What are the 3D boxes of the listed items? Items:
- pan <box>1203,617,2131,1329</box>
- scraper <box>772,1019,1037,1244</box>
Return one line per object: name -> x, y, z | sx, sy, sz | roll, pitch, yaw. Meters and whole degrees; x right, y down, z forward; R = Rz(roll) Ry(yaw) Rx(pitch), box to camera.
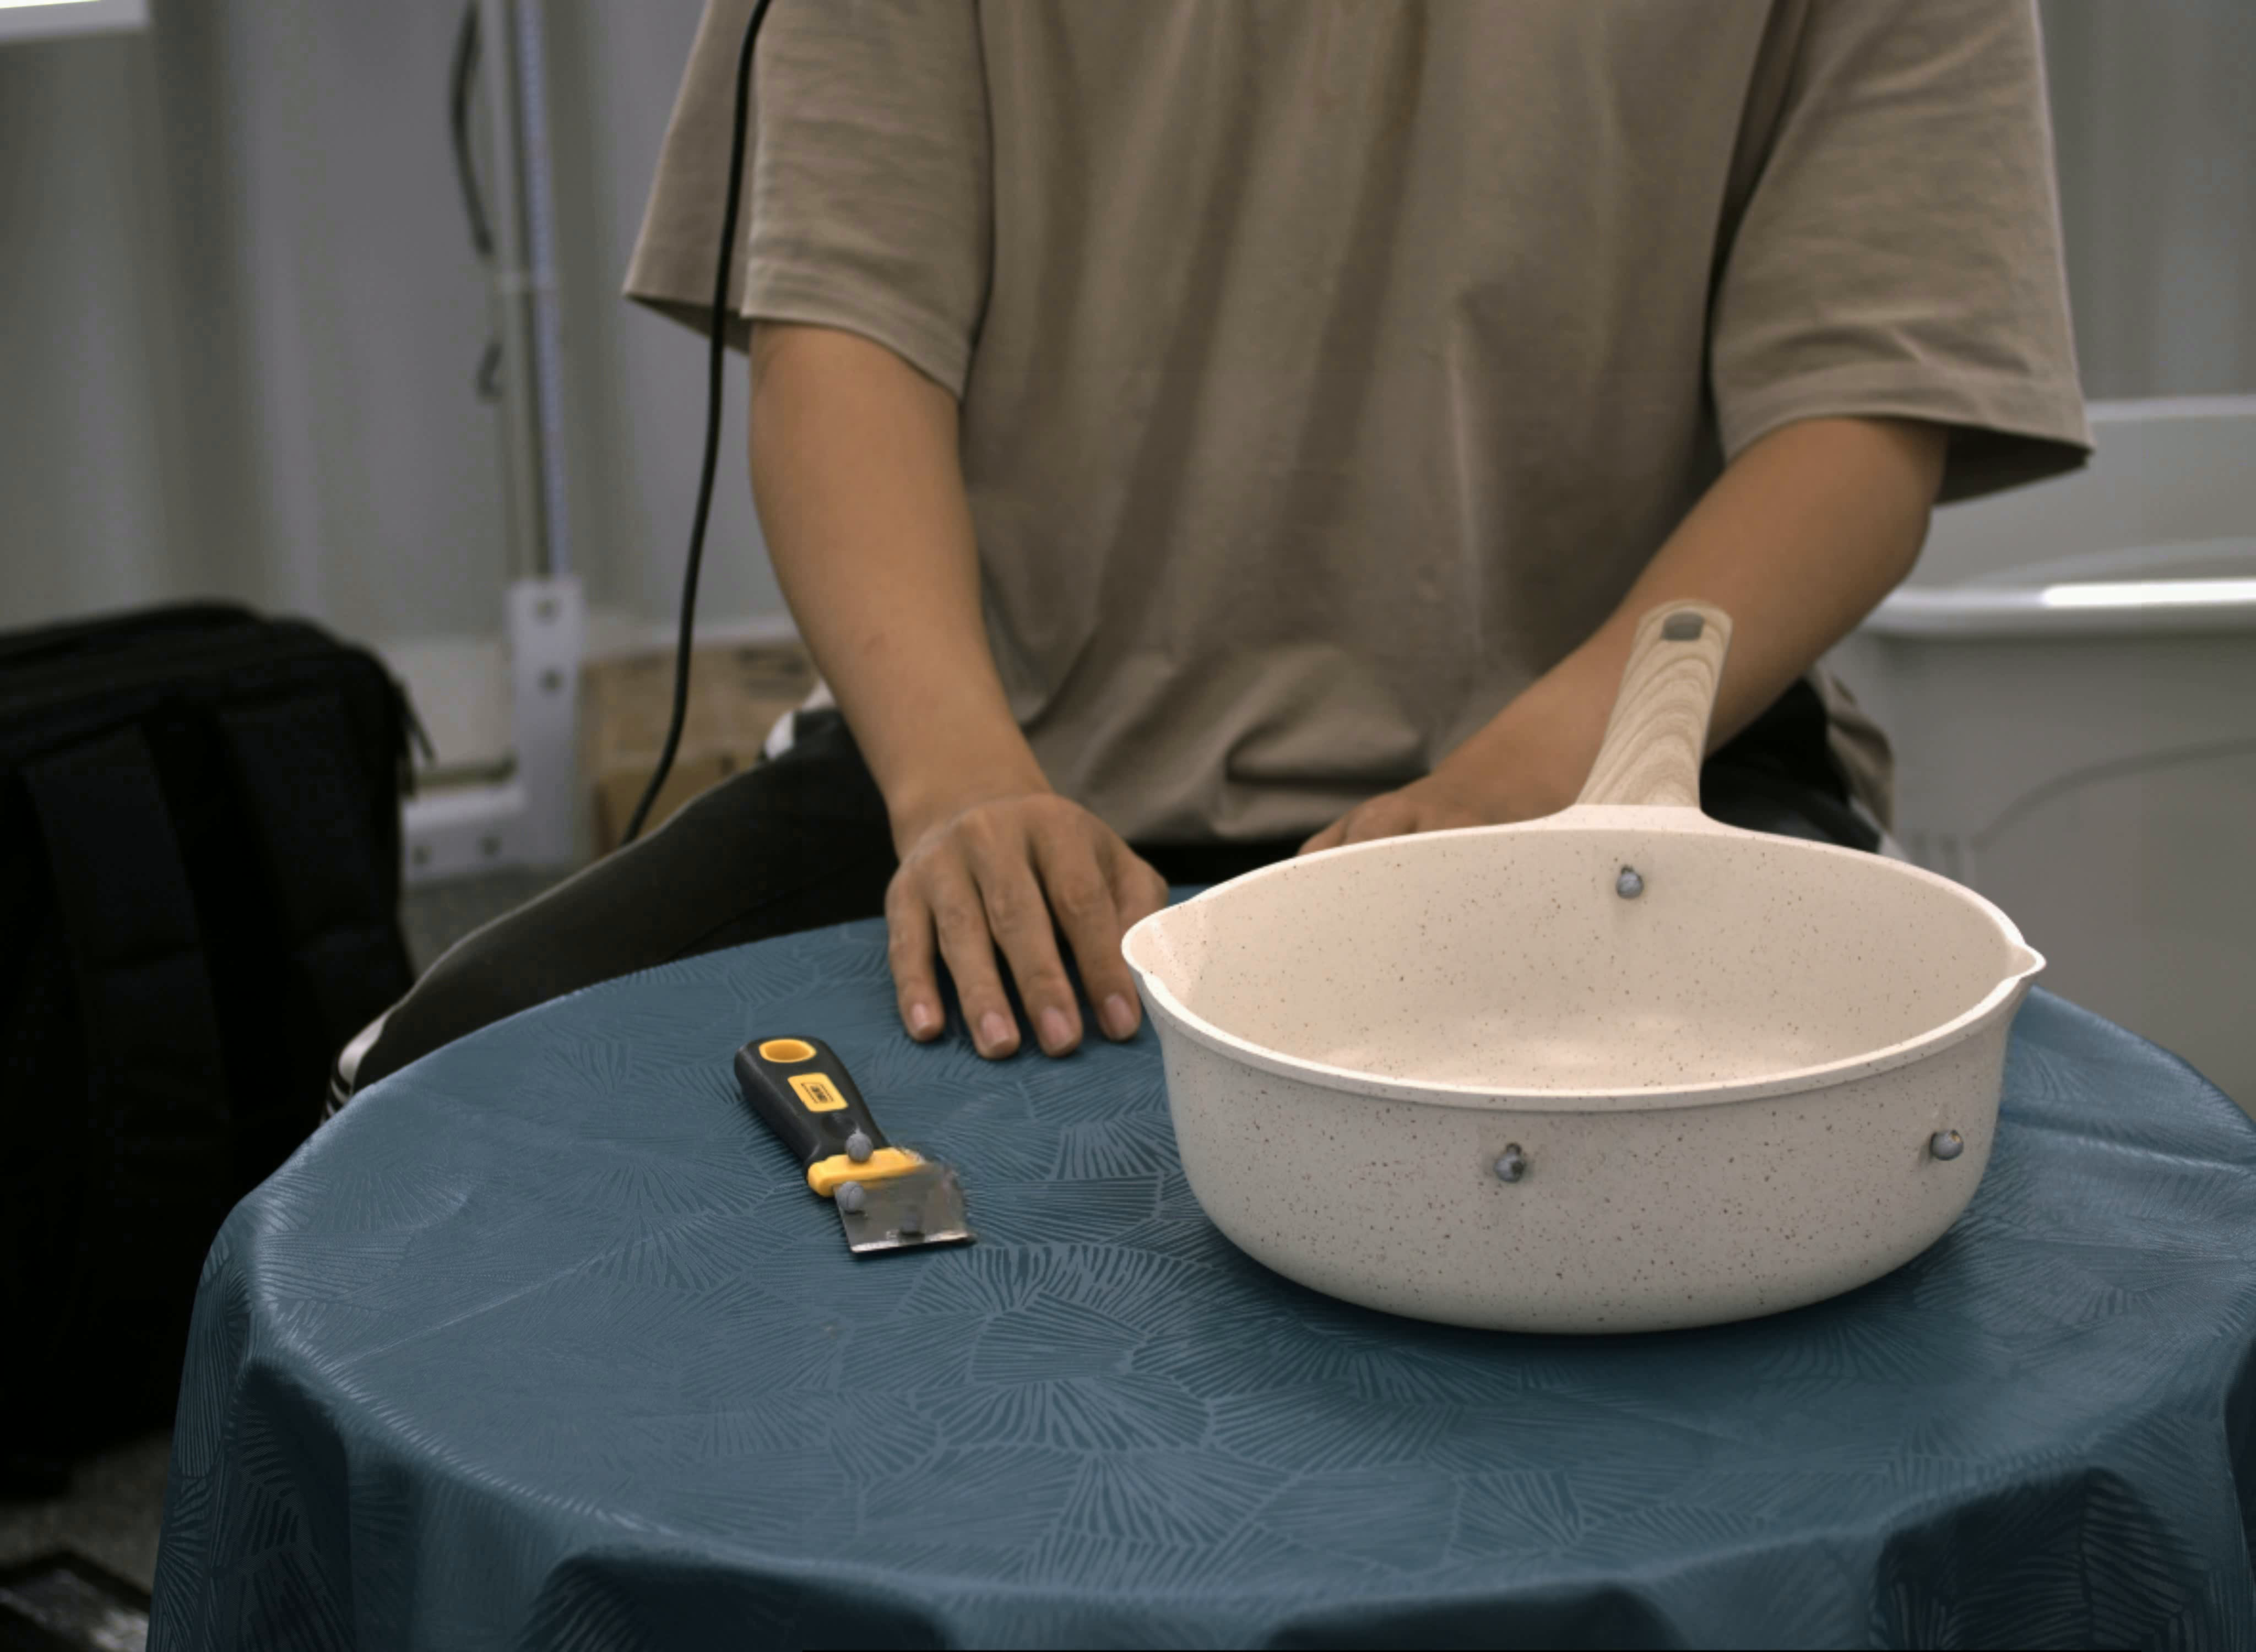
pan -> 0.171, 0.040, 1.590 | 0.265, 0.102, 0.432 | -1, 16, 12
scraper -> -0.071, 0.090, 1.586 | 0.038, 0.015, 0.174 | -12, 21, -16
